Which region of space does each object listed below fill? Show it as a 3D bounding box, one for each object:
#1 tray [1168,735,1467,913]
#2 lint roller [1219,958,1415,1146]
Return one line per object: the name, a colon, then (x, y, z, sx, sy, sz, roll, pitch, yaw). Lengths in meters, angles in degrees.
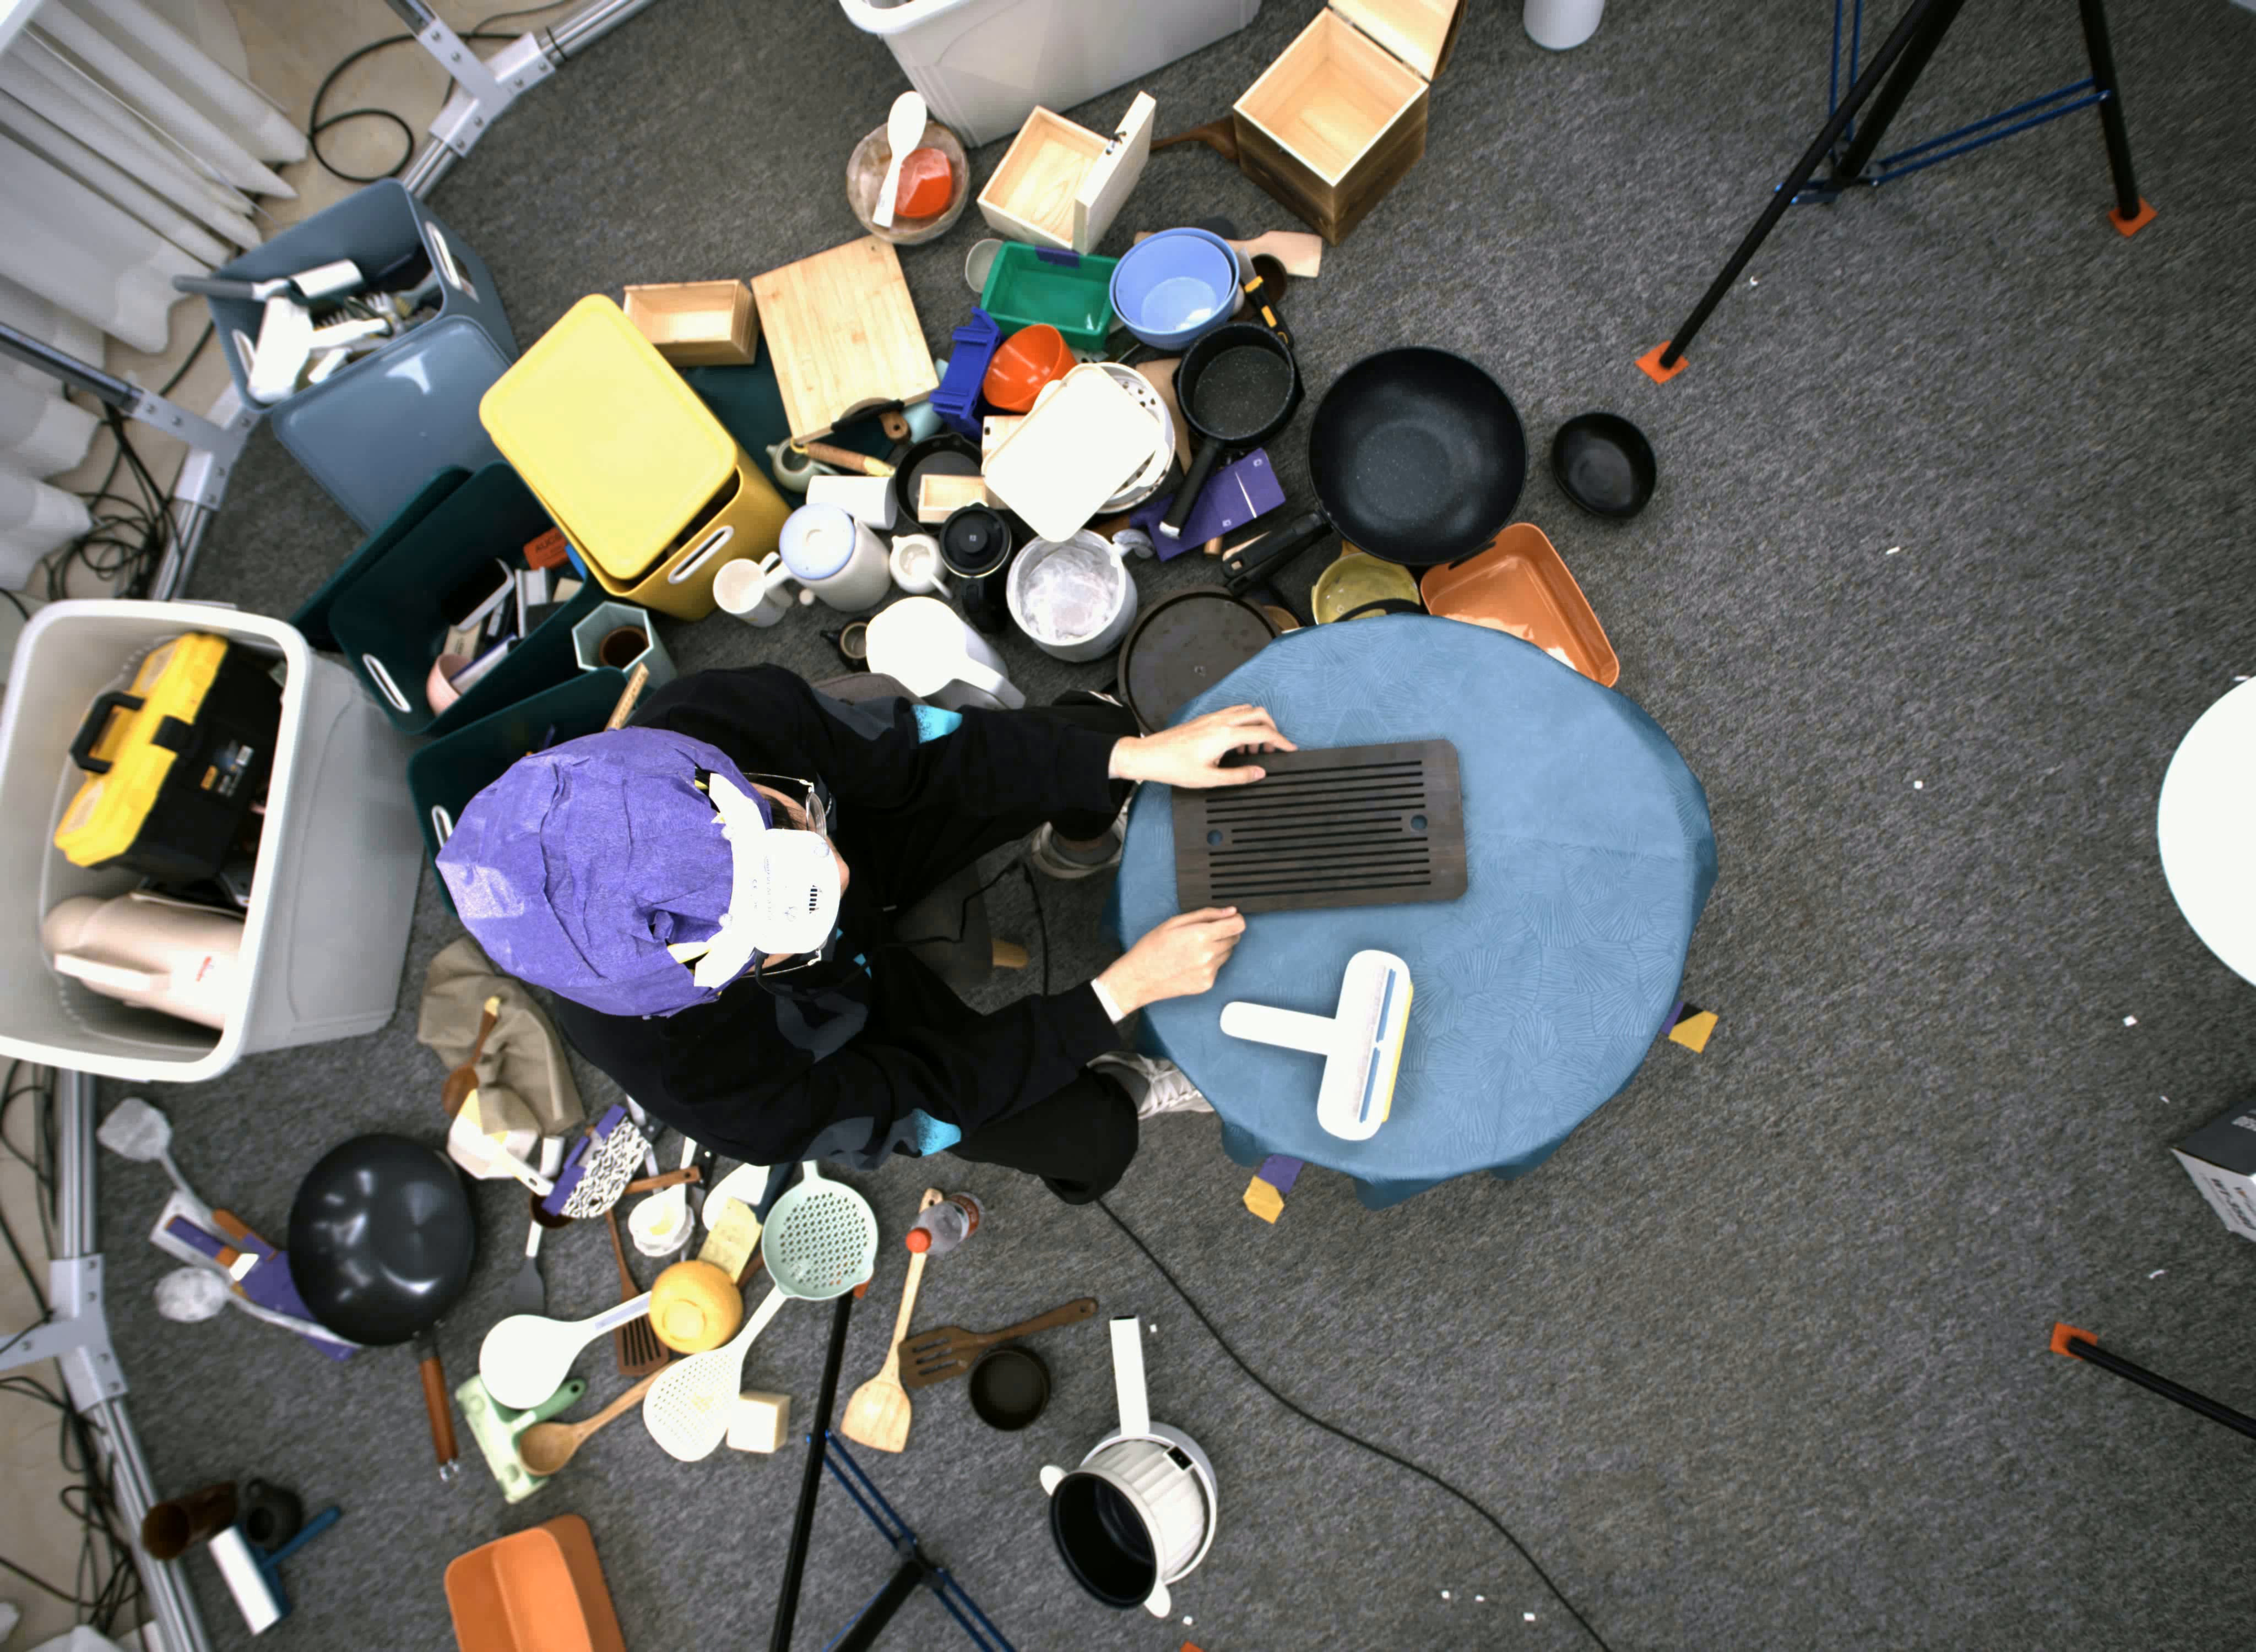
tray: (0.198, -0.002, 1.463, 0.307, 0.018, 0.169, -4, 87, 10)
lint roller: (0.184, 0.215, 1.430, 0.192, 0.074, 0.191, 15, 84, 12)
